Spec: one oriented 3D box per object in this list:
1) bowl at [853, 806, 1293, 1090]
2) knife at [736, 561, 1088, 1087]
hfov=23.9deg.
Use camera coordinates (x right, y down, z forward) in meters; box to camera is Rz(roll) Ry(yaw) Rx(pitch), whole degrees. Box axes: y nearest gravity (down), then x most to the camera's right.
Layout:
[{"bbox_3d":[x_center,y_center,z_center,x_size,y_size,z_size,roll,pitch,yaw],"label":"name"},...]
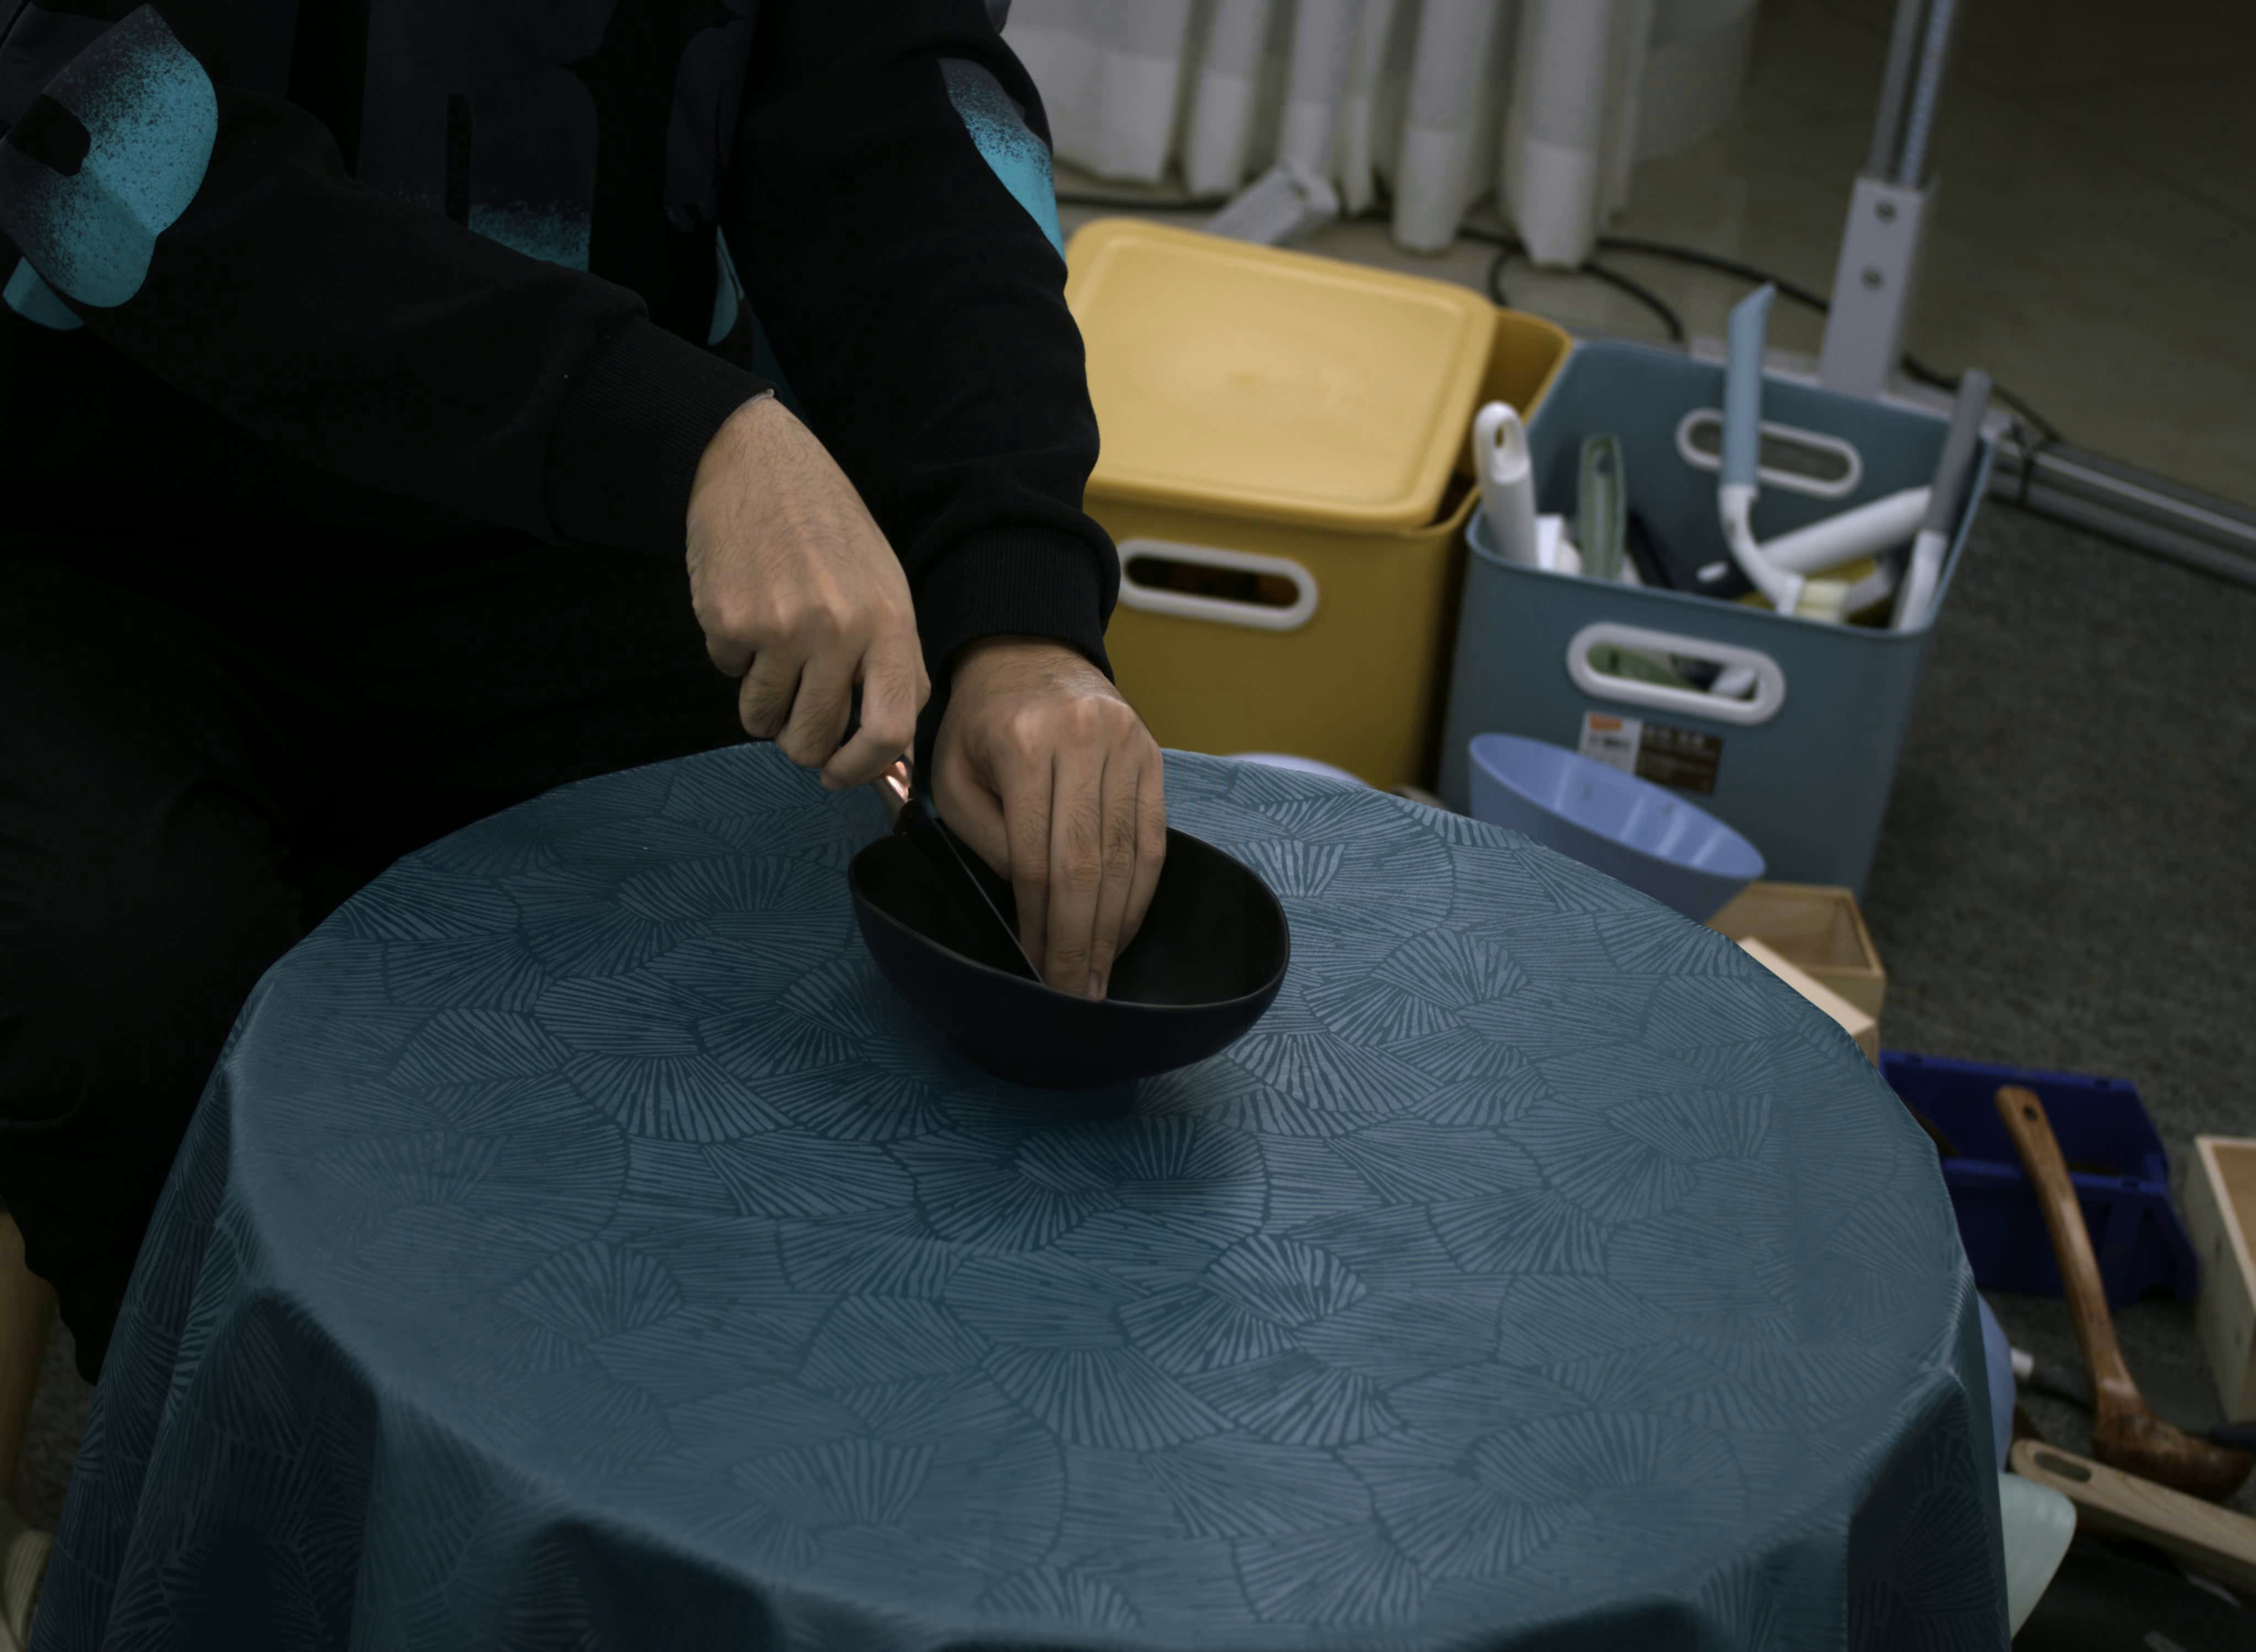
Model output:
[{"bbox_3d":[-0.023,0.050,1.870,0.171,0.066,0.137,22,30,32],"label":"bowl"},{"bbox_3d":[-0.075,-0.002,1.878,0.017,0.026,0.227,-26,71,-26],"label":"knife"}]
